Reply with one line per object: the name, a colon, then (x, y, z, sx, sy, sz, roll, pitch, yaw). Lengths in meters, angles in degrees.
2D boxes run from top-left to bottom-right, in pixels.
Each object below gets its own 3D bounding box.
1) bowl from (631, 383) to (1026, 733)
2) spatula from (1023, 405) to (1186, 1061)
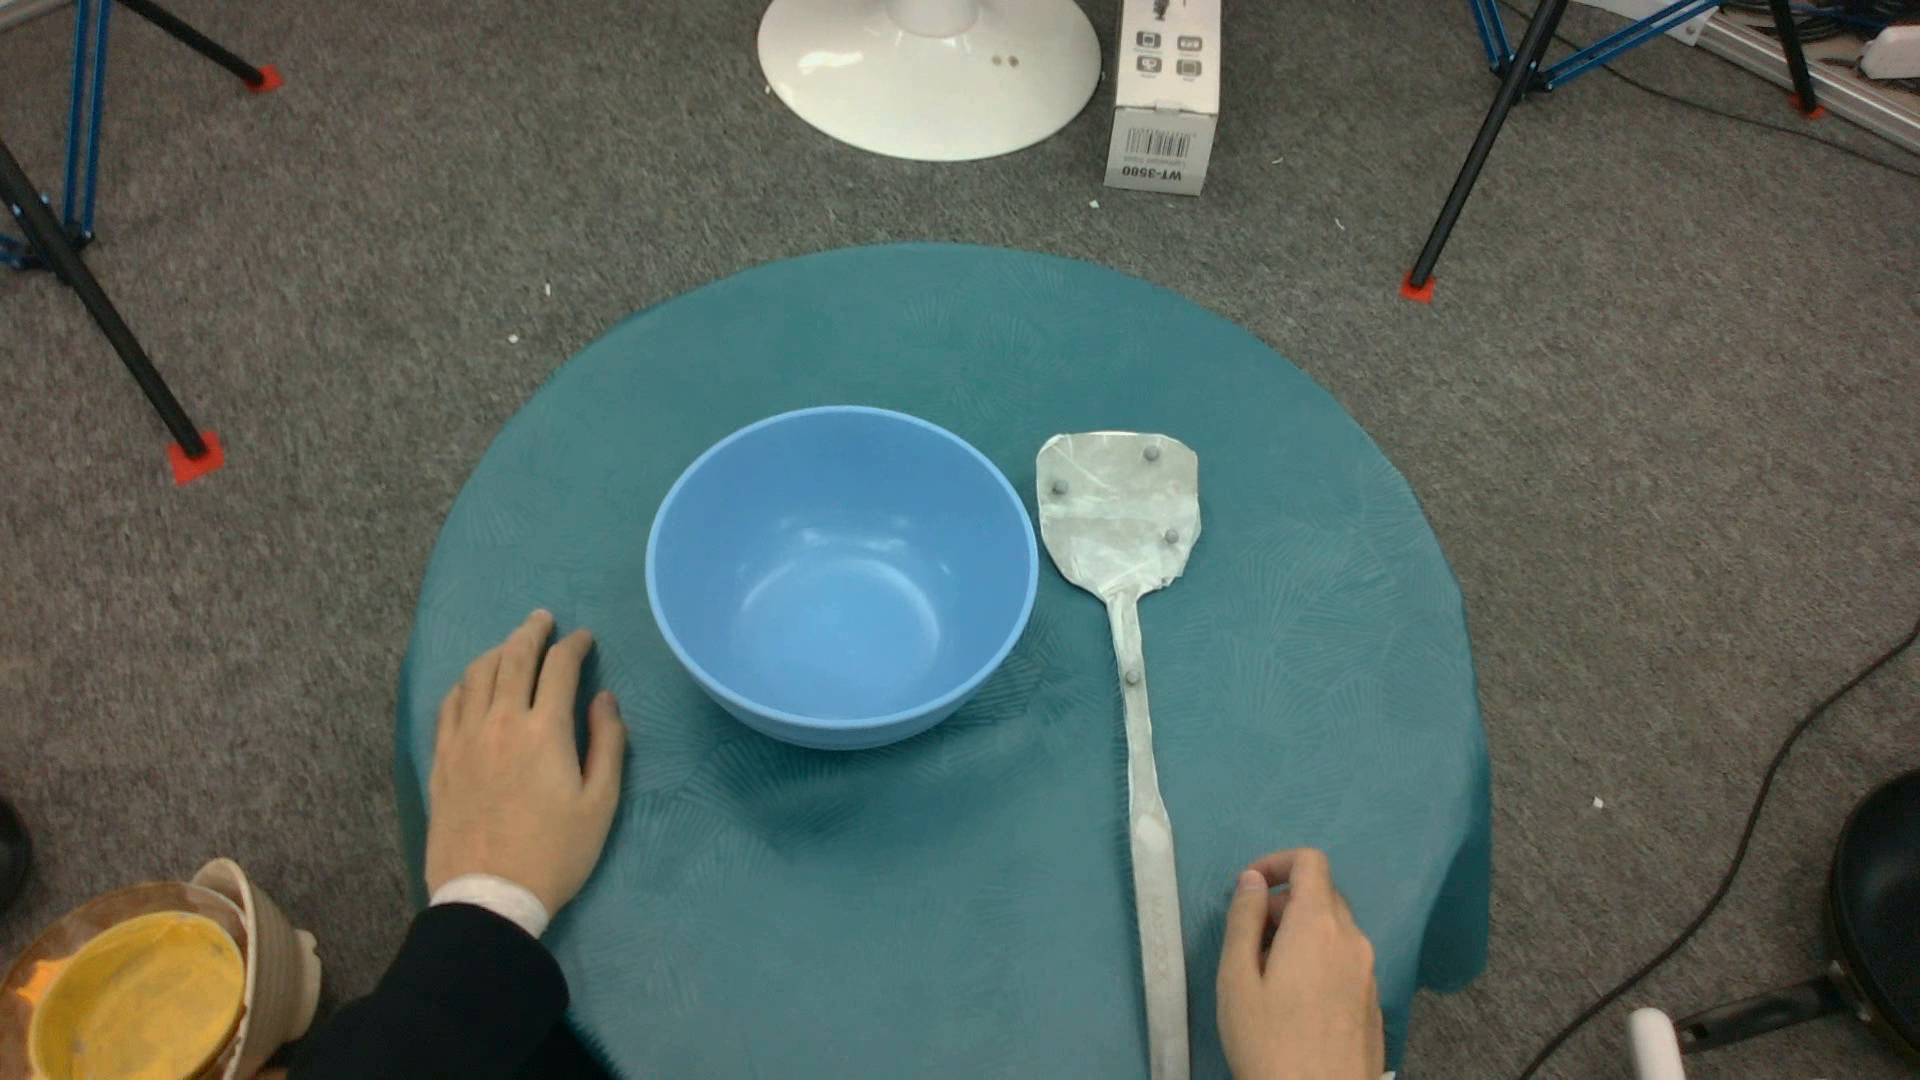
bowl: (-0.069, 0.023, 0.725, 0.196, 0.095, 0.197, 4, 56, -5)
spatula: (0.084, 0.083, 0.734, 0.099, 0.044, 0.366, 4, 55, -6)
